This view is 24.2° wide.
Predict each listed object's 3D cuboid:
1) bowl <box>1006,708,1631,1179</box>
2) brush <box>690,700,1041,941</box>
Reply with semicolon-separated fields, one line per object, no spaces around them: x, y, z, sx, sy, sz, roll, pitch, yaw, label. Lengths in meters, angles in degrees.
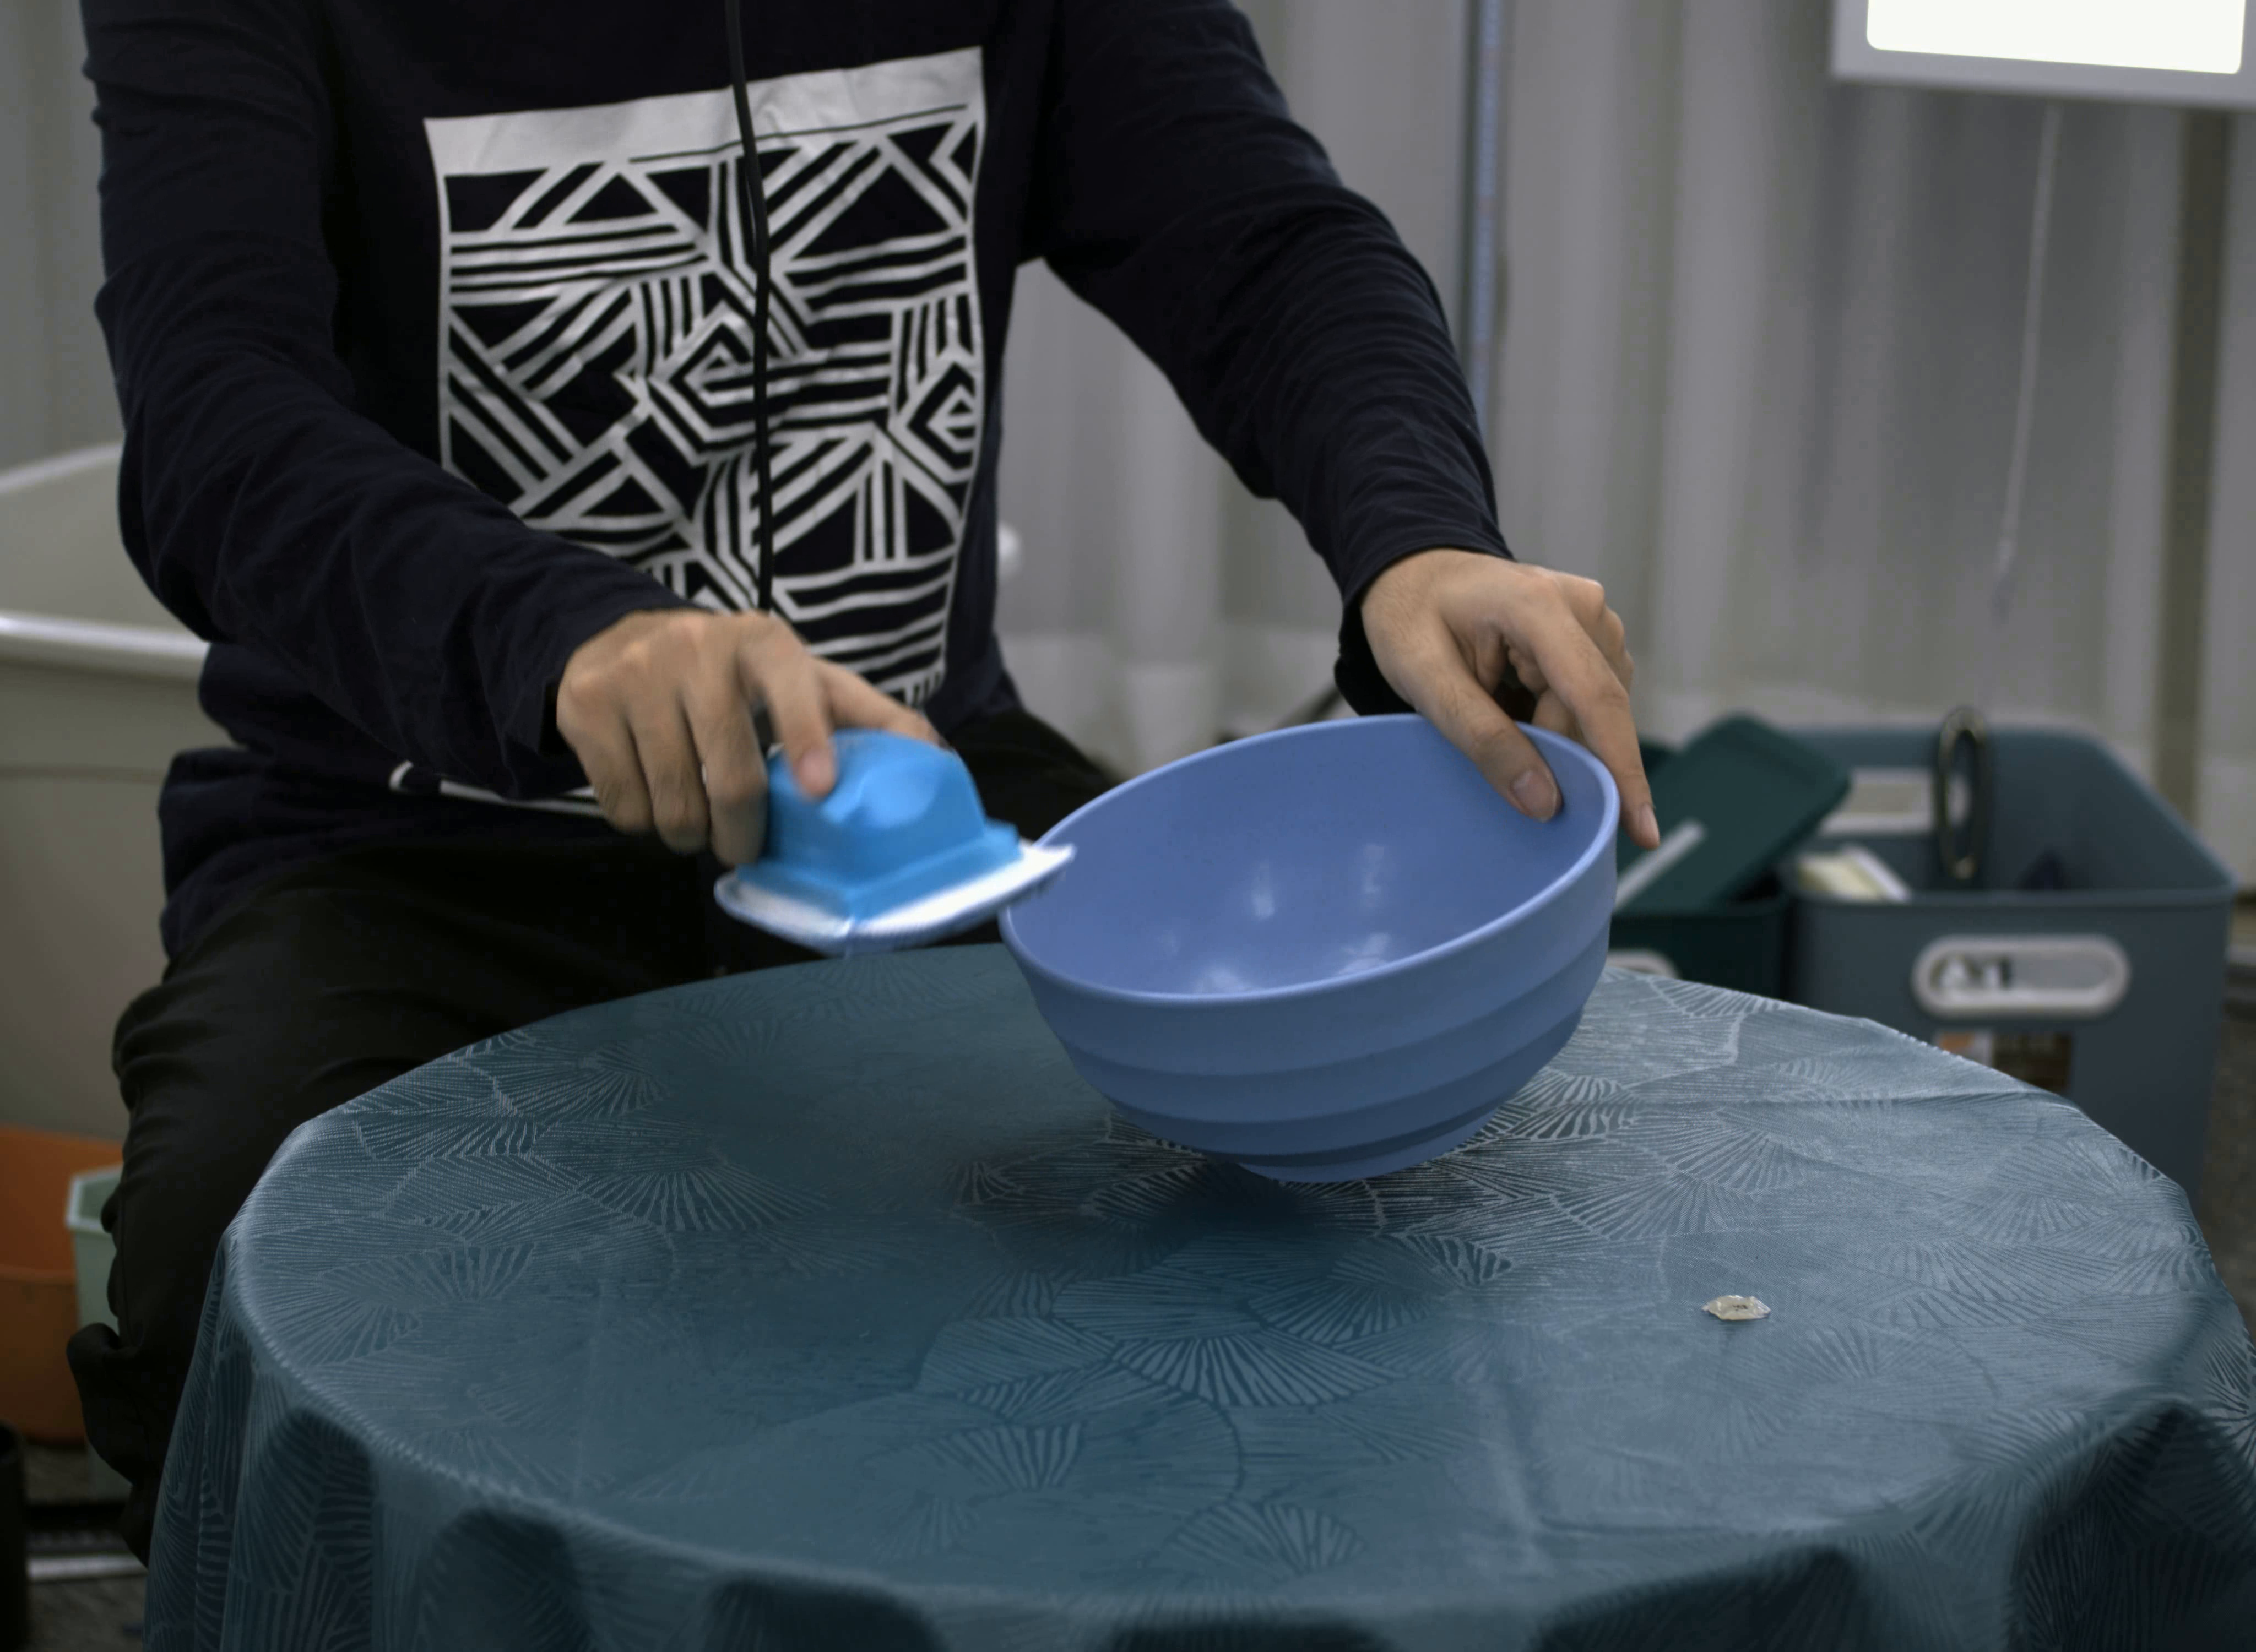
0.066;0.047;1.647;0.195;0.096;0.195;-8;25;5;bowl
-0.082;-0.004;1.573;0.084;0.056;0.142;-18;16;-15;brush
